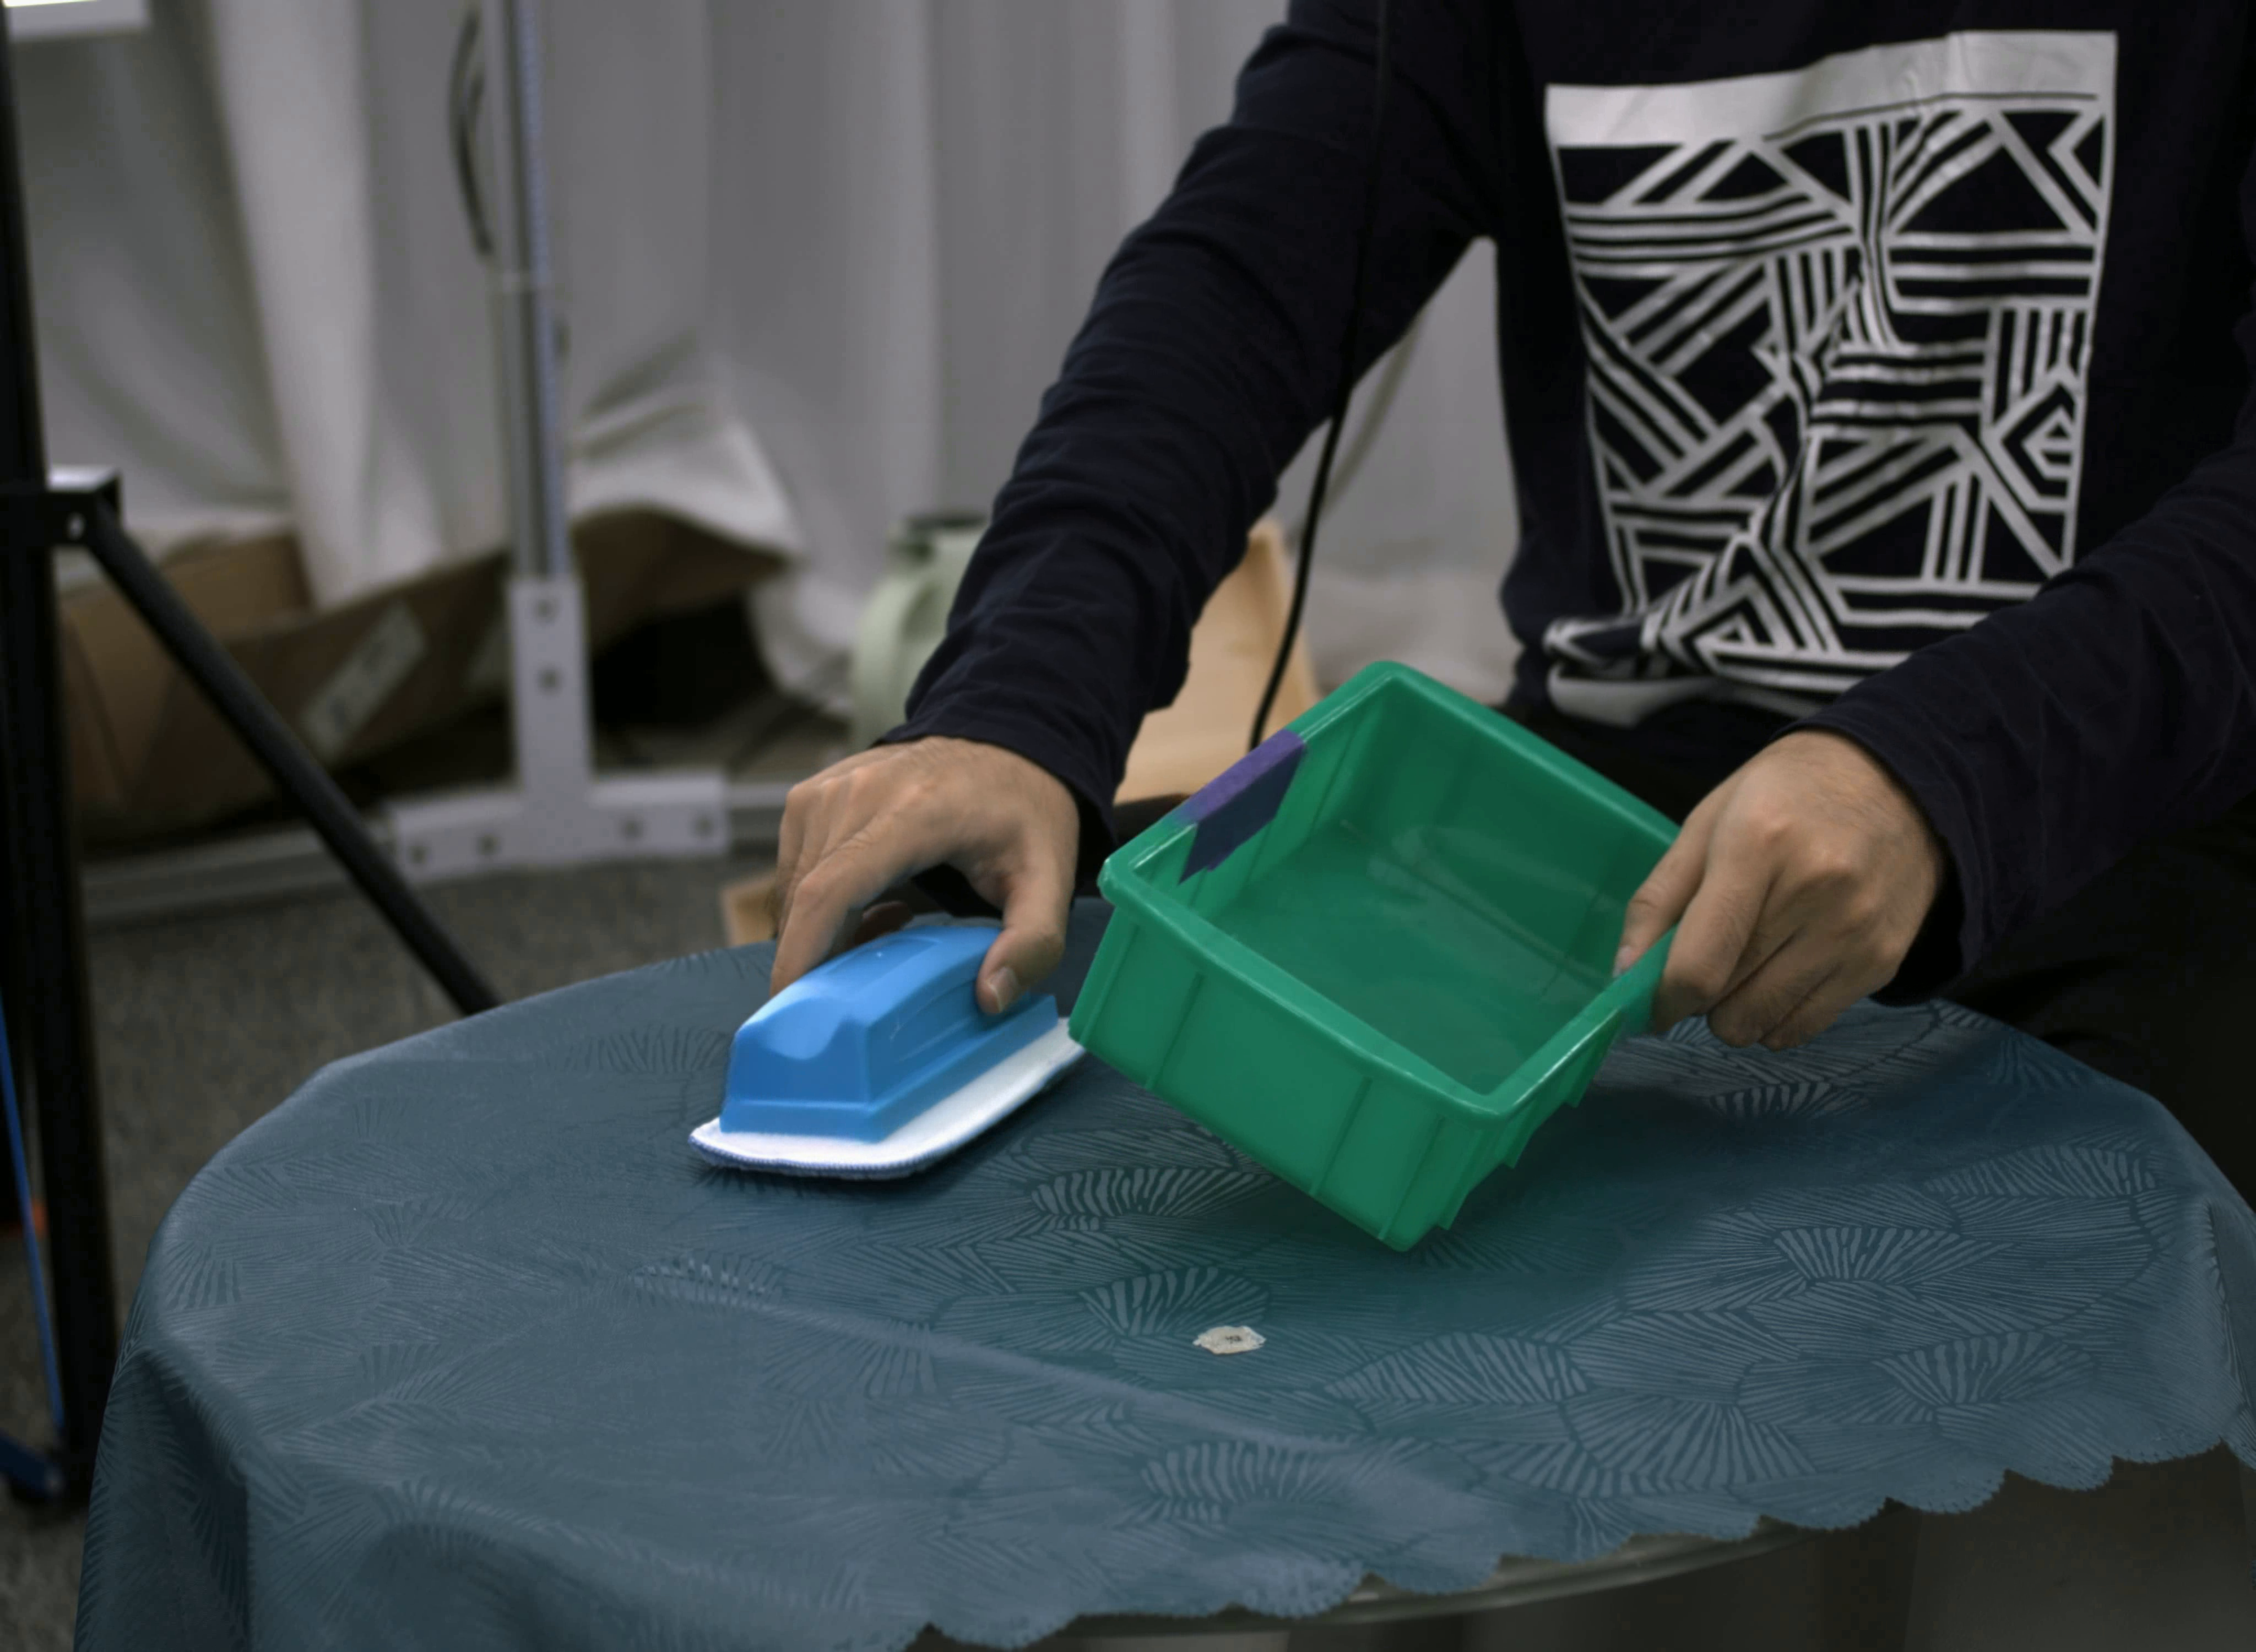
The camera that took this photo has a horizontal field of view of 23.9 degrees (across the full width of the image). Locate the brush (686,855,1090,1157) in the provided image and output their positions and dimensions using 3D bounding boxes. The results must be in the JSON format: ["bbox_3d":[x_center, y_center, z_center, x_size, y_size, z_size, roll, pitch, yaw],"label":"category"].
[{"bbox_3d":[-0.074,0.051,1.634,0.085,0.055,0.142,1,25,28],"label":"brush"}]

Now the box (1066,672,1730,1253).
[{"bbox_3d":[0.078,0.040,1.565,0.140,0.065,0.207,30,30,15],"label":"box"}]
